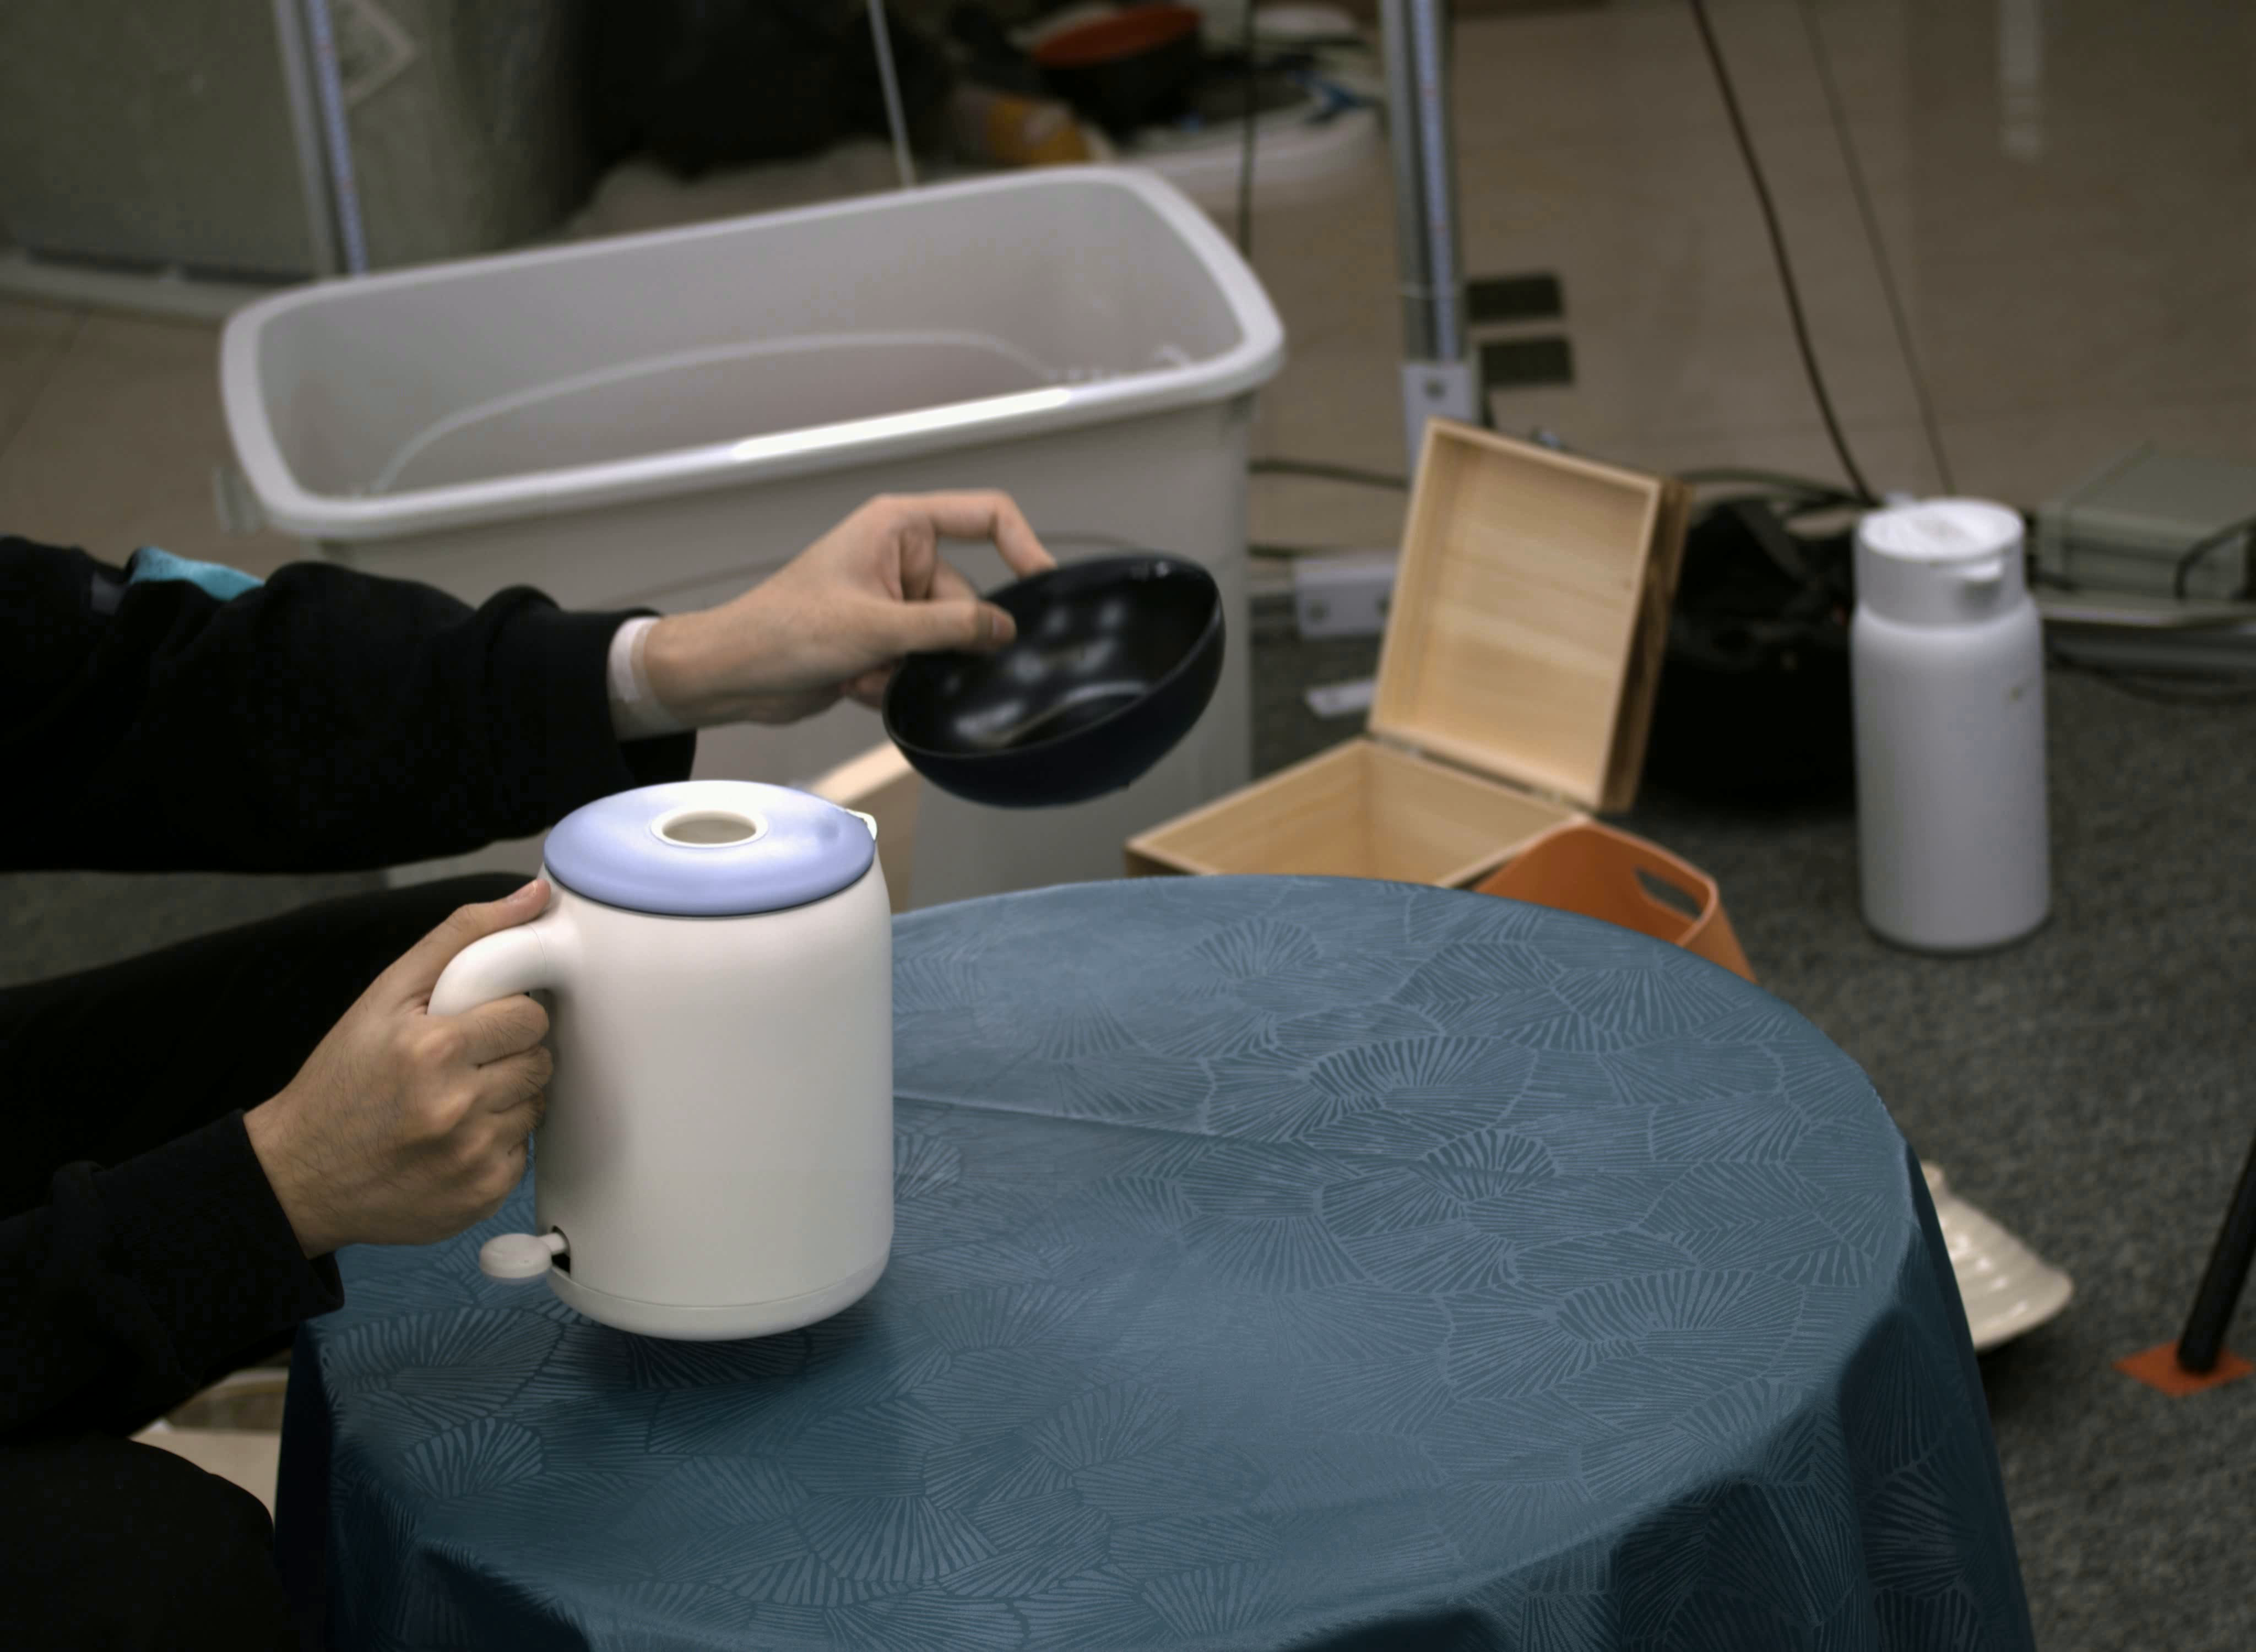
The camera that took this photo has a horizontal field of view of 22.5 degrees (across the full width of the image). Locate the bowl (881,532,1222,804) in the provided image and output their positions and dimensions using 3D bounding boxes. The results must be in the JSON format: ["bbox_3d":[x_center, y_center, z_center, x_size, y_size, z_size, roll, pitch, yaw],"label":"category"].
[{"bbox_3d":[-0.022,-0.051,2.156,0.140,0.050,0.137,-21,31,14],"label":"bowl"}]

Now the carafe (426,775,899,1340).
[{"bbox_3d":[-0.170,0.088,2.034,0.190,0.185,0.131,-18,28,-32],"label":"carafe"}]
